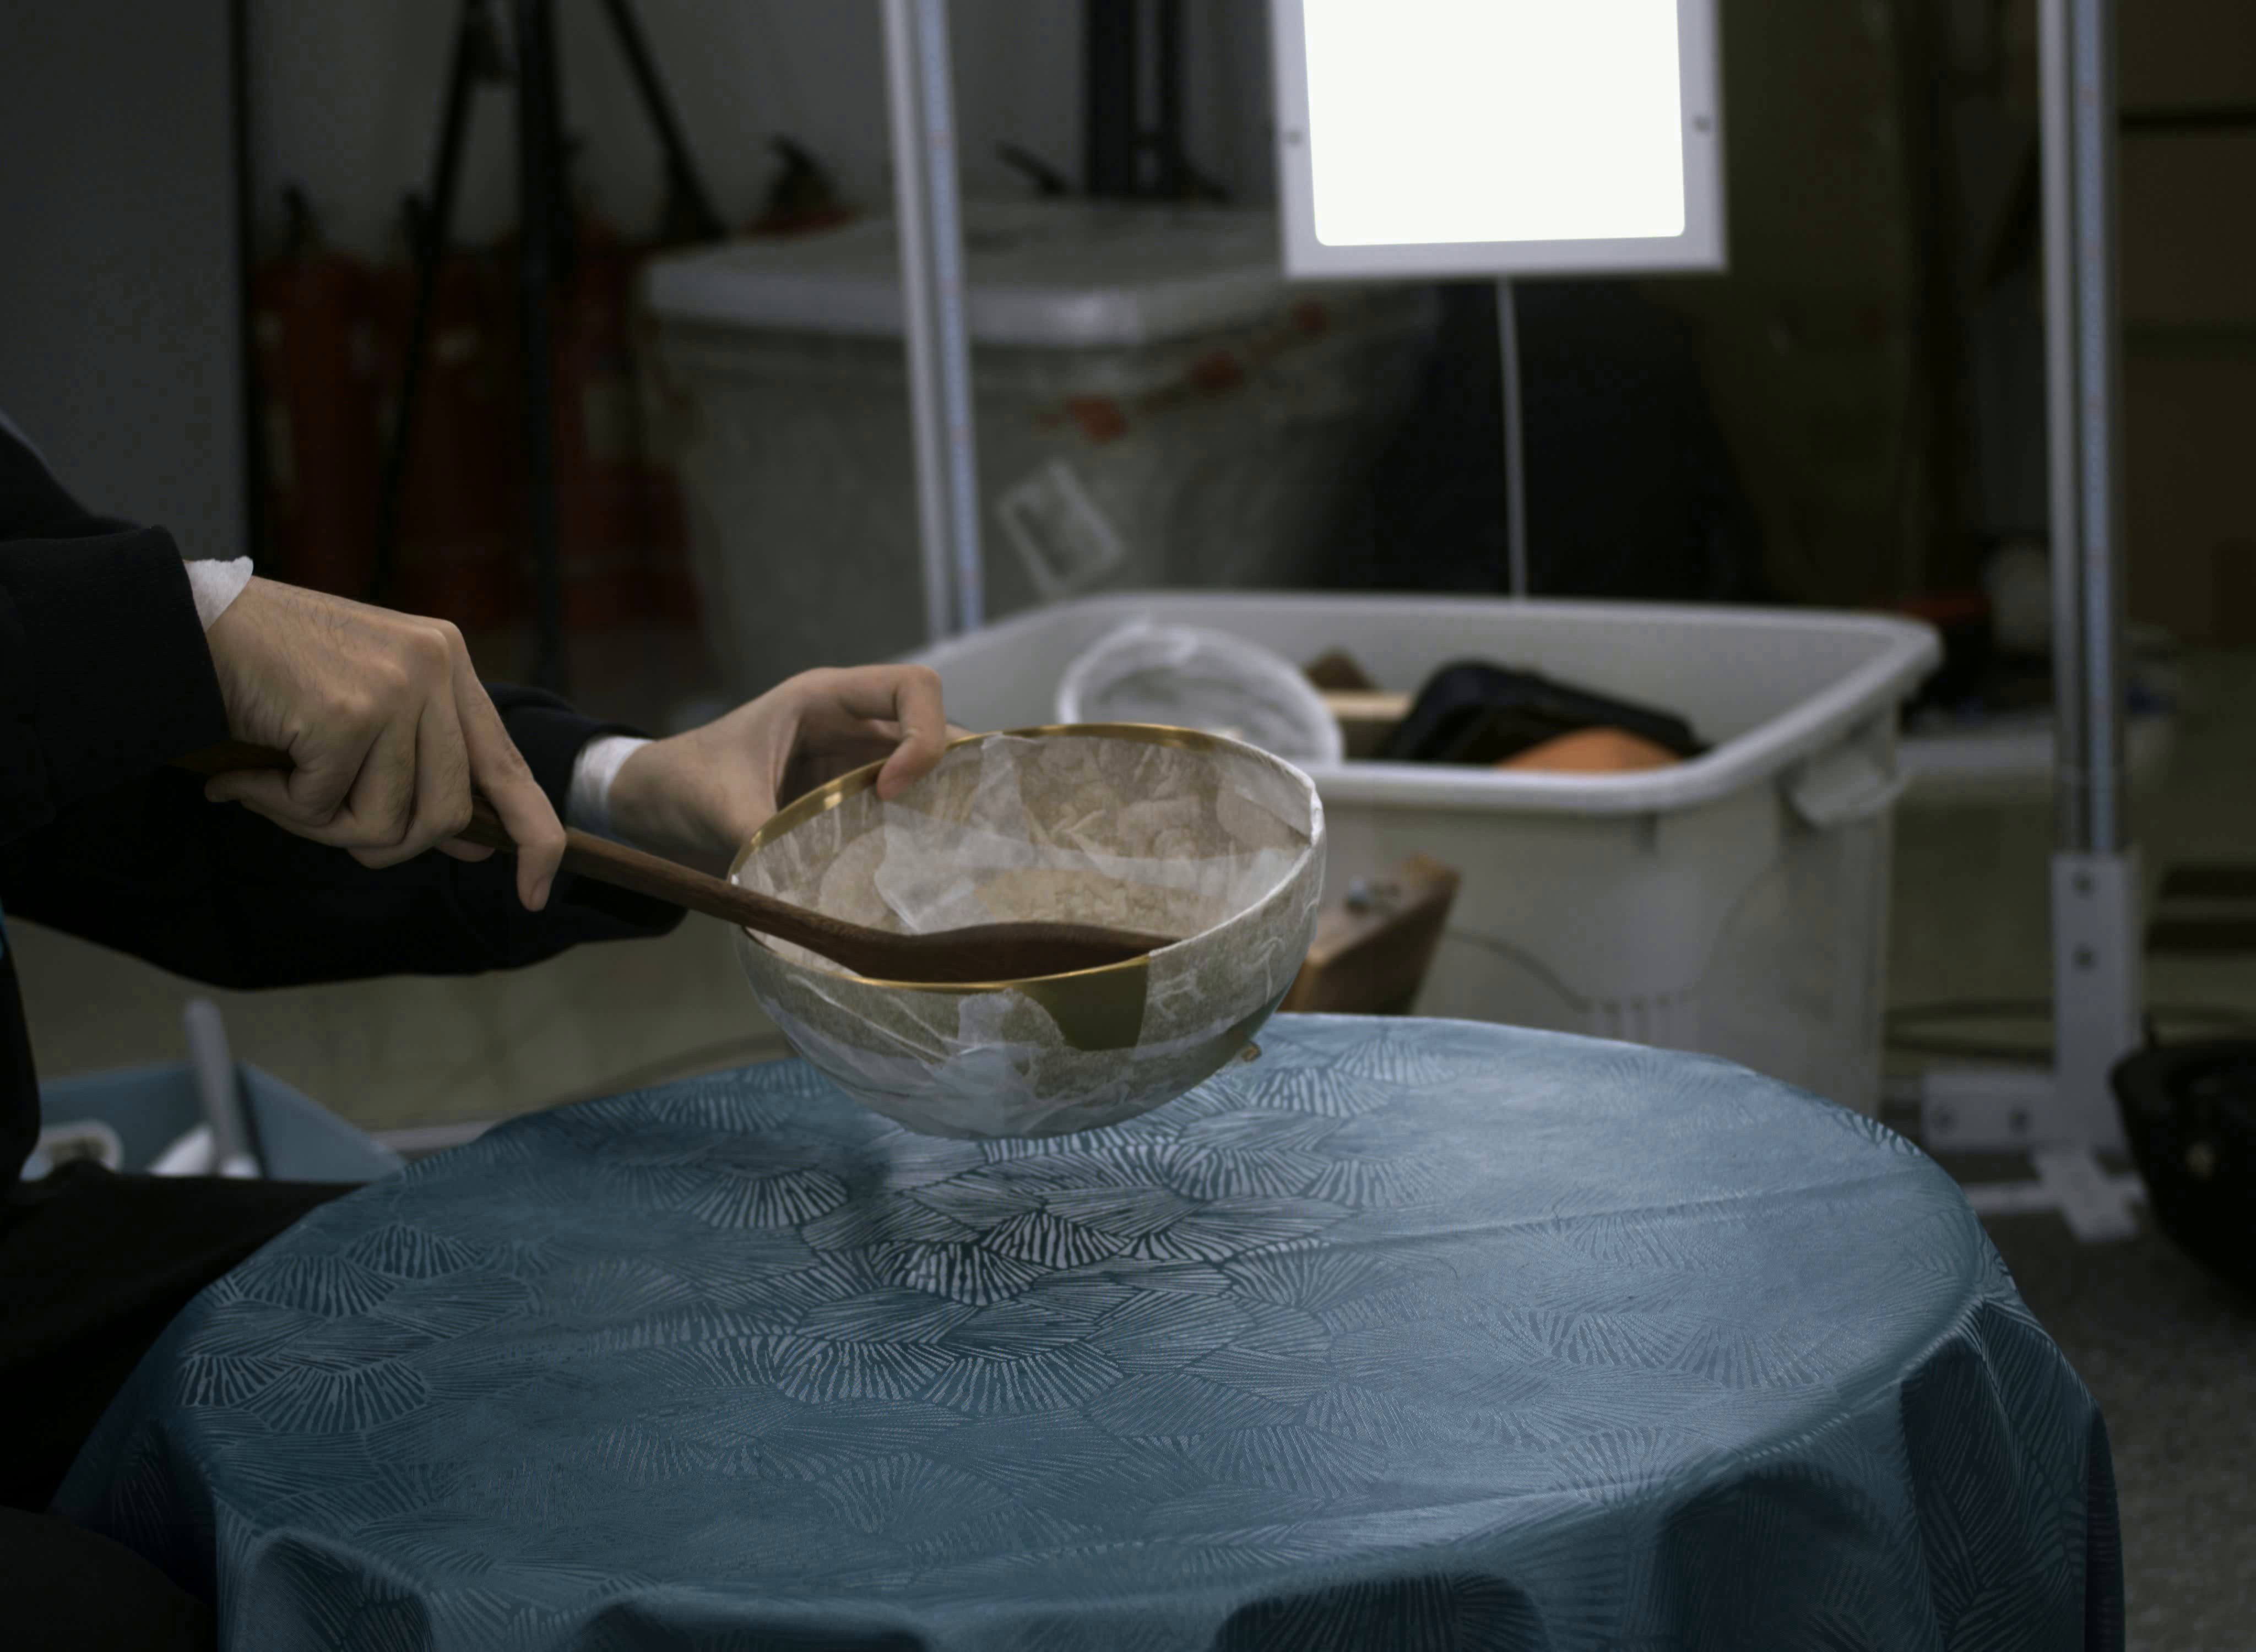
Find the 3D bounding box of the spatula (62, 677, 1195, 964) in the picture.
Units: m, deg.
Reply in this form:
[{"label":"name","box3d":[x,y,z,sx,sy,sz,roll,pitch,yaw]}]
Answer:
[{"label":"spatula","box3d":[-0.157,0.013,1.789,0.382,0.097,0.015,17,54,-10]}]

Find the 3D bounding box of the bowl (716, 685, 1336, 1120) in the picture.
[{"label":"bowl","box3d":[-0.035,0.037,1.843,0.214,0.095,0.214,-1,28,-1]}]
